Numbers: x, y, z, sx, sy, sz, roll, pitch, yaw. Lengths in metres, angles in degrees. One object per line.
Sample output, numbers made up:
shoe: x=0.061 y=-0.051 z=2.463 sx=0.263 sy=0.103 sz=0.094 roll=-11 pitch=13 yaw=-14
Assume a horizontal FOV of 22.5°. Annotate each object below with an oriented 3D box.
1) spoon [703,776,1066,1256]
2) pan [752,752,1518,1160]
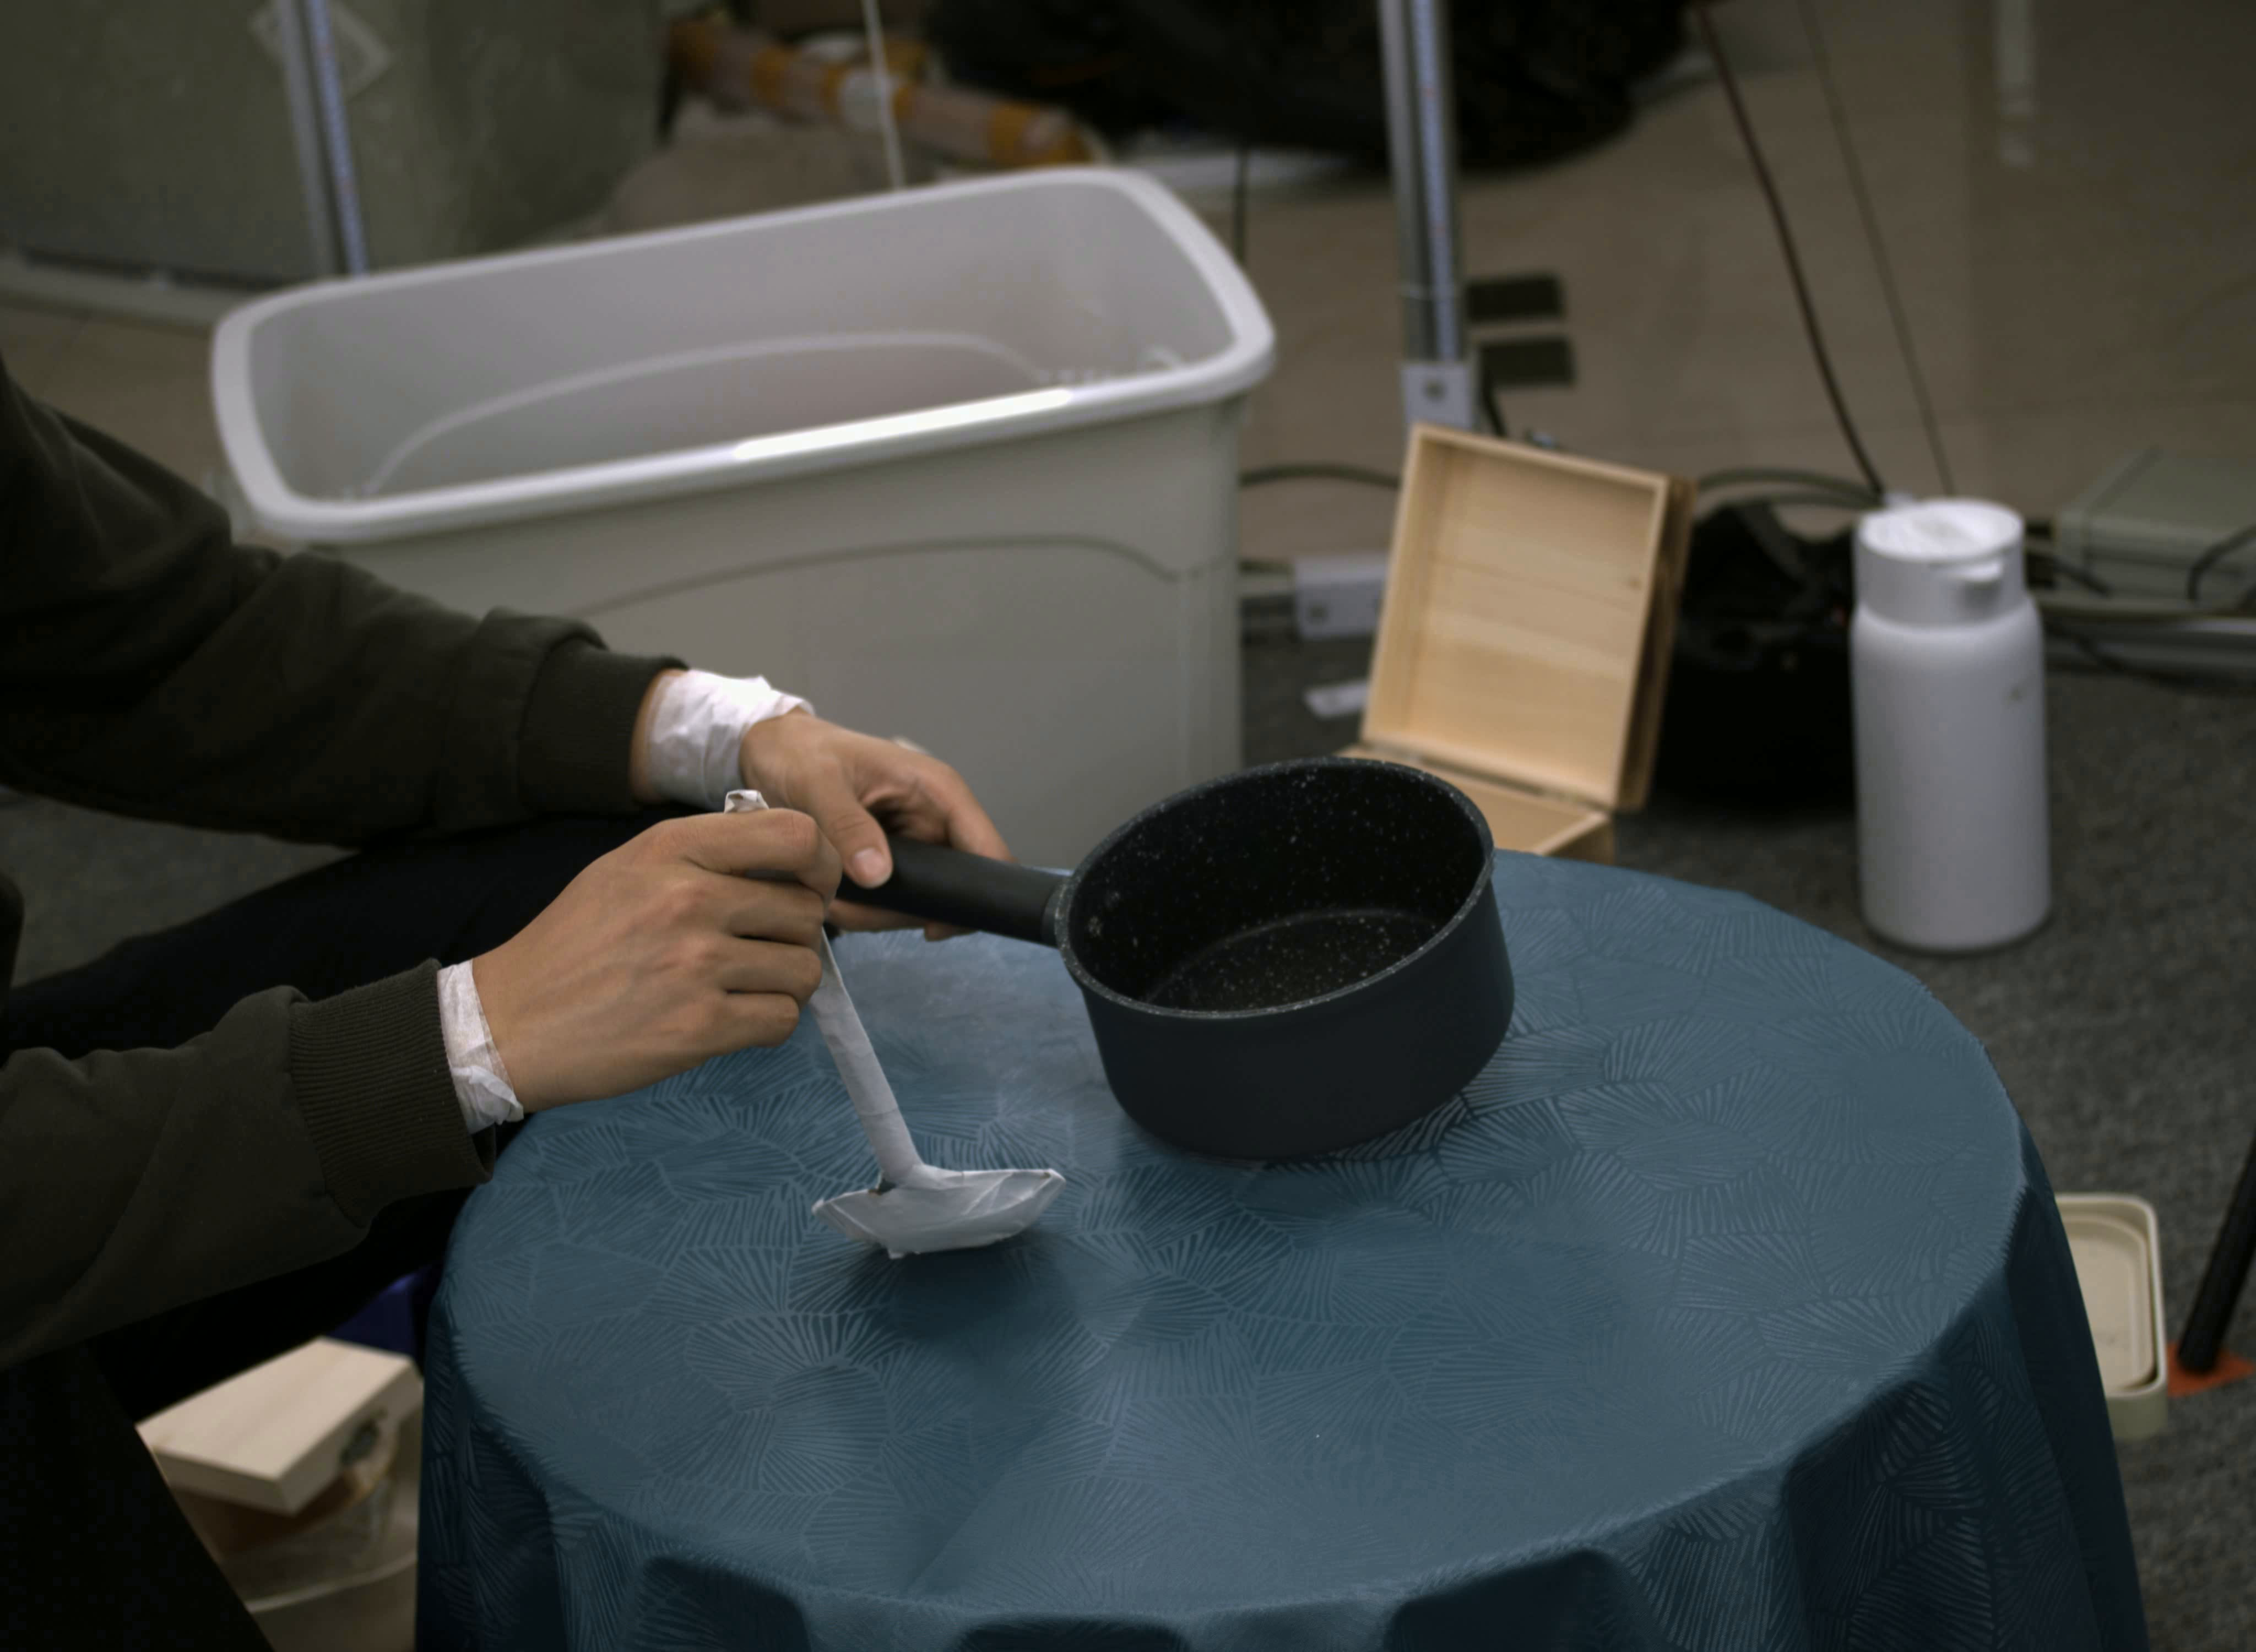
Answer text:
spoon: x=-0.102 y=0.068 z=2.031 sx=0.100 sy=0.282 sz=0.058 roll=-13 pitch=41 yaw=12
pan: x=-0.004 y=0.042 z=2.227 sx=0.327 sy=0.088 sz=0.169 roll=8 pitch=39 yaw=29
